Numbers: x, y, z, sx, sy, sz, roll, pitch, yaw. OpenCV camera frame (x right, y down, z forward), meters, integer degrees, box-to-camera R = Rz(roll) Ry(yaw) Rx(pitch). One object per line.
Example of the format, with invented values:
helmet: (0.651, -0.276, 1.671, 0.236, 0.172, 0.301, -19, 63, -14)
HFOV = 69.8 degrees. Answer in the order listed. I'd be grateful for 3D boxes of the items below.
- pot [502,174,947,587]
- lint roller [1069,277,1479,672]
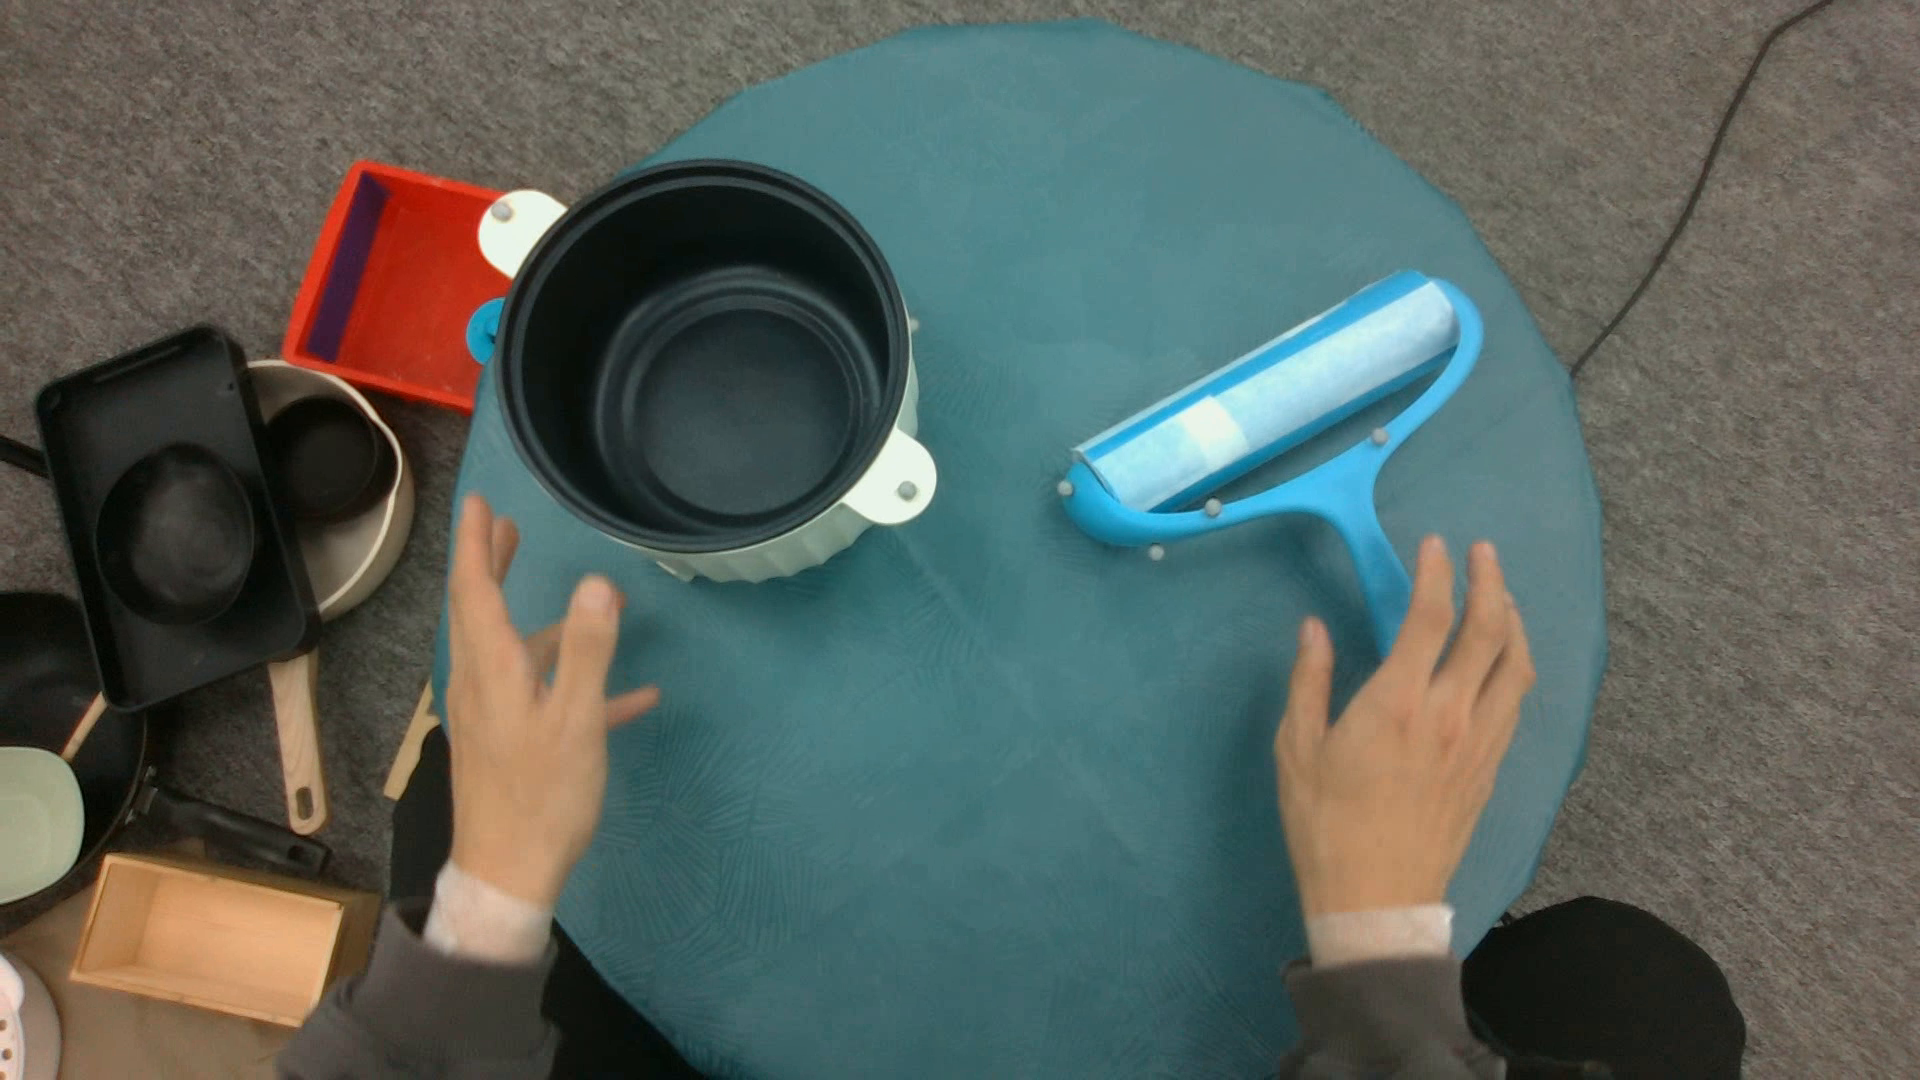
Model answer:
pot: (-0.103, -0.073, 0.682, 0.240, 0.142, 0.190, 34, 85, 8)
lint roller: (0.190, -0.018, 0.697, 0.229, 0.068, 0.180, -31, 77, -5)
